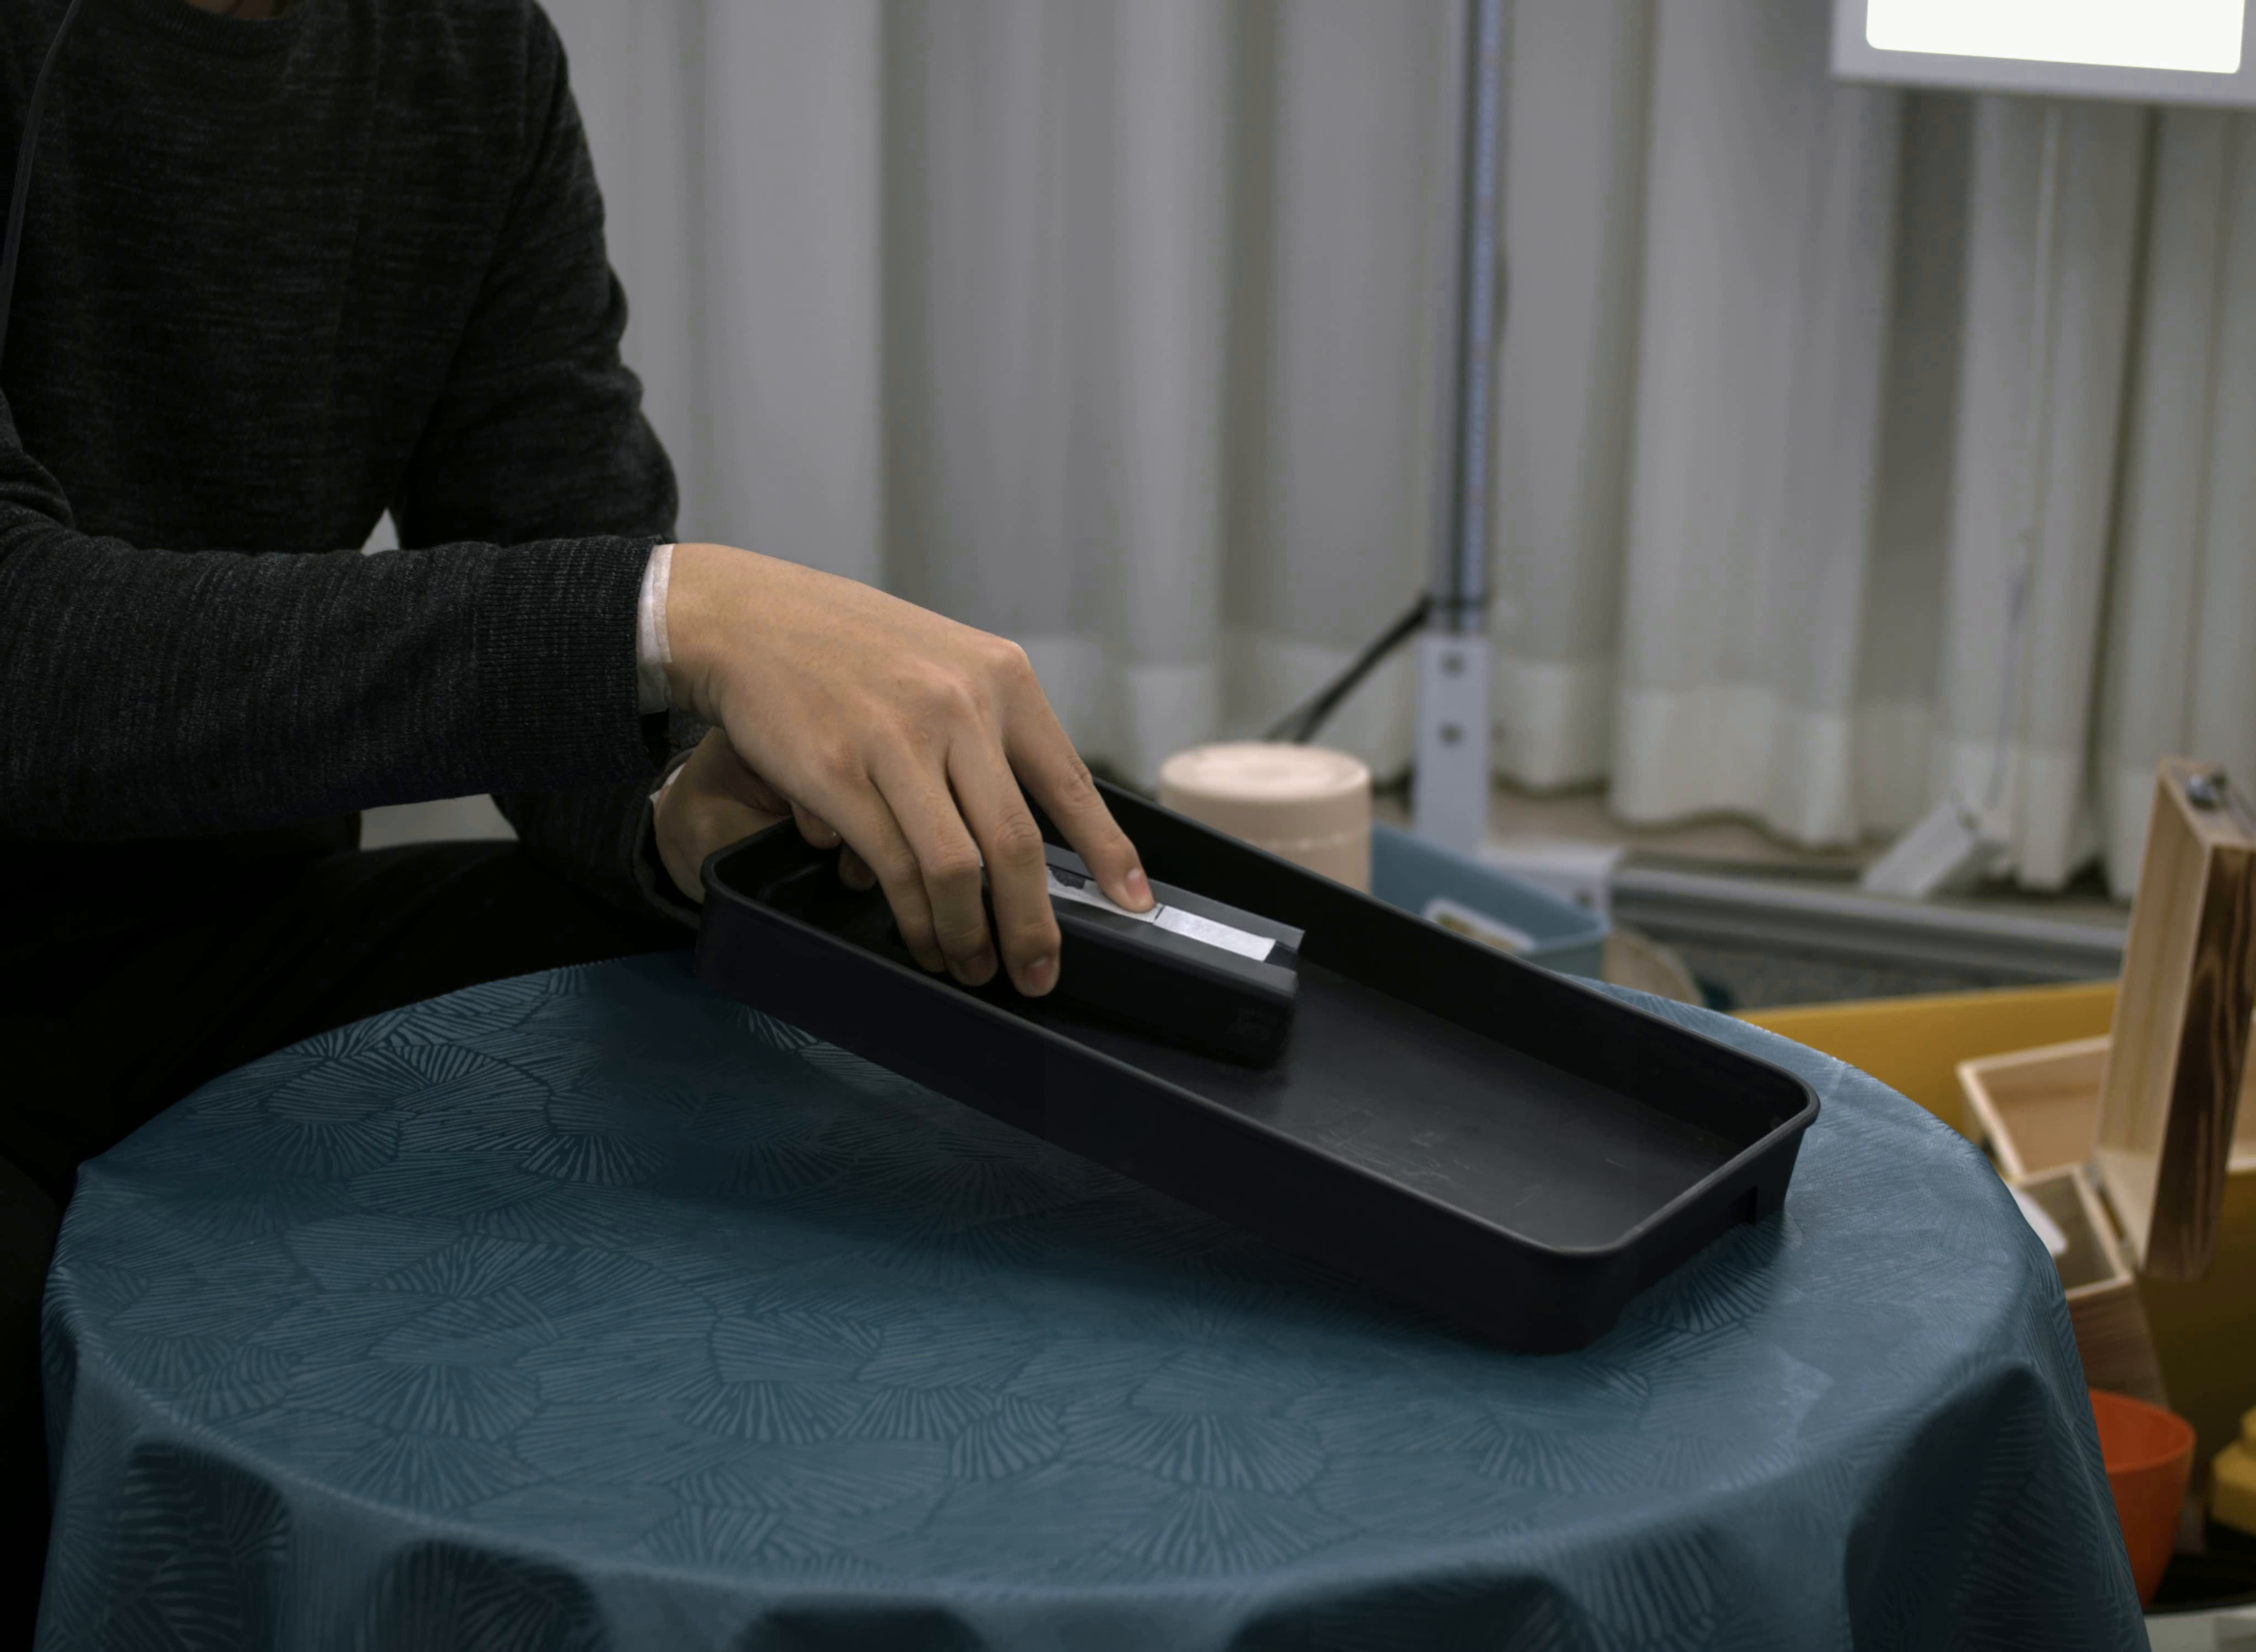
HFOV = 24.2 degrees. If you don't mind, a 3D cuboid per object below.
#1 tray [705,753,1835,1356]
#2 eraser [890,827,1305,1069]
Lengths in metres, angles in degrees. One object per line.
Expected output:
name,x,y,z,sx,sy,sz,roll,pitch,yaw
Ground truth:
tray,0.042,0.064,1.606,0.314,0.037,0.185,22,24,22
eraser,-0.009,0.037,1.628,0.125,0.030,0.053,17,23,3
